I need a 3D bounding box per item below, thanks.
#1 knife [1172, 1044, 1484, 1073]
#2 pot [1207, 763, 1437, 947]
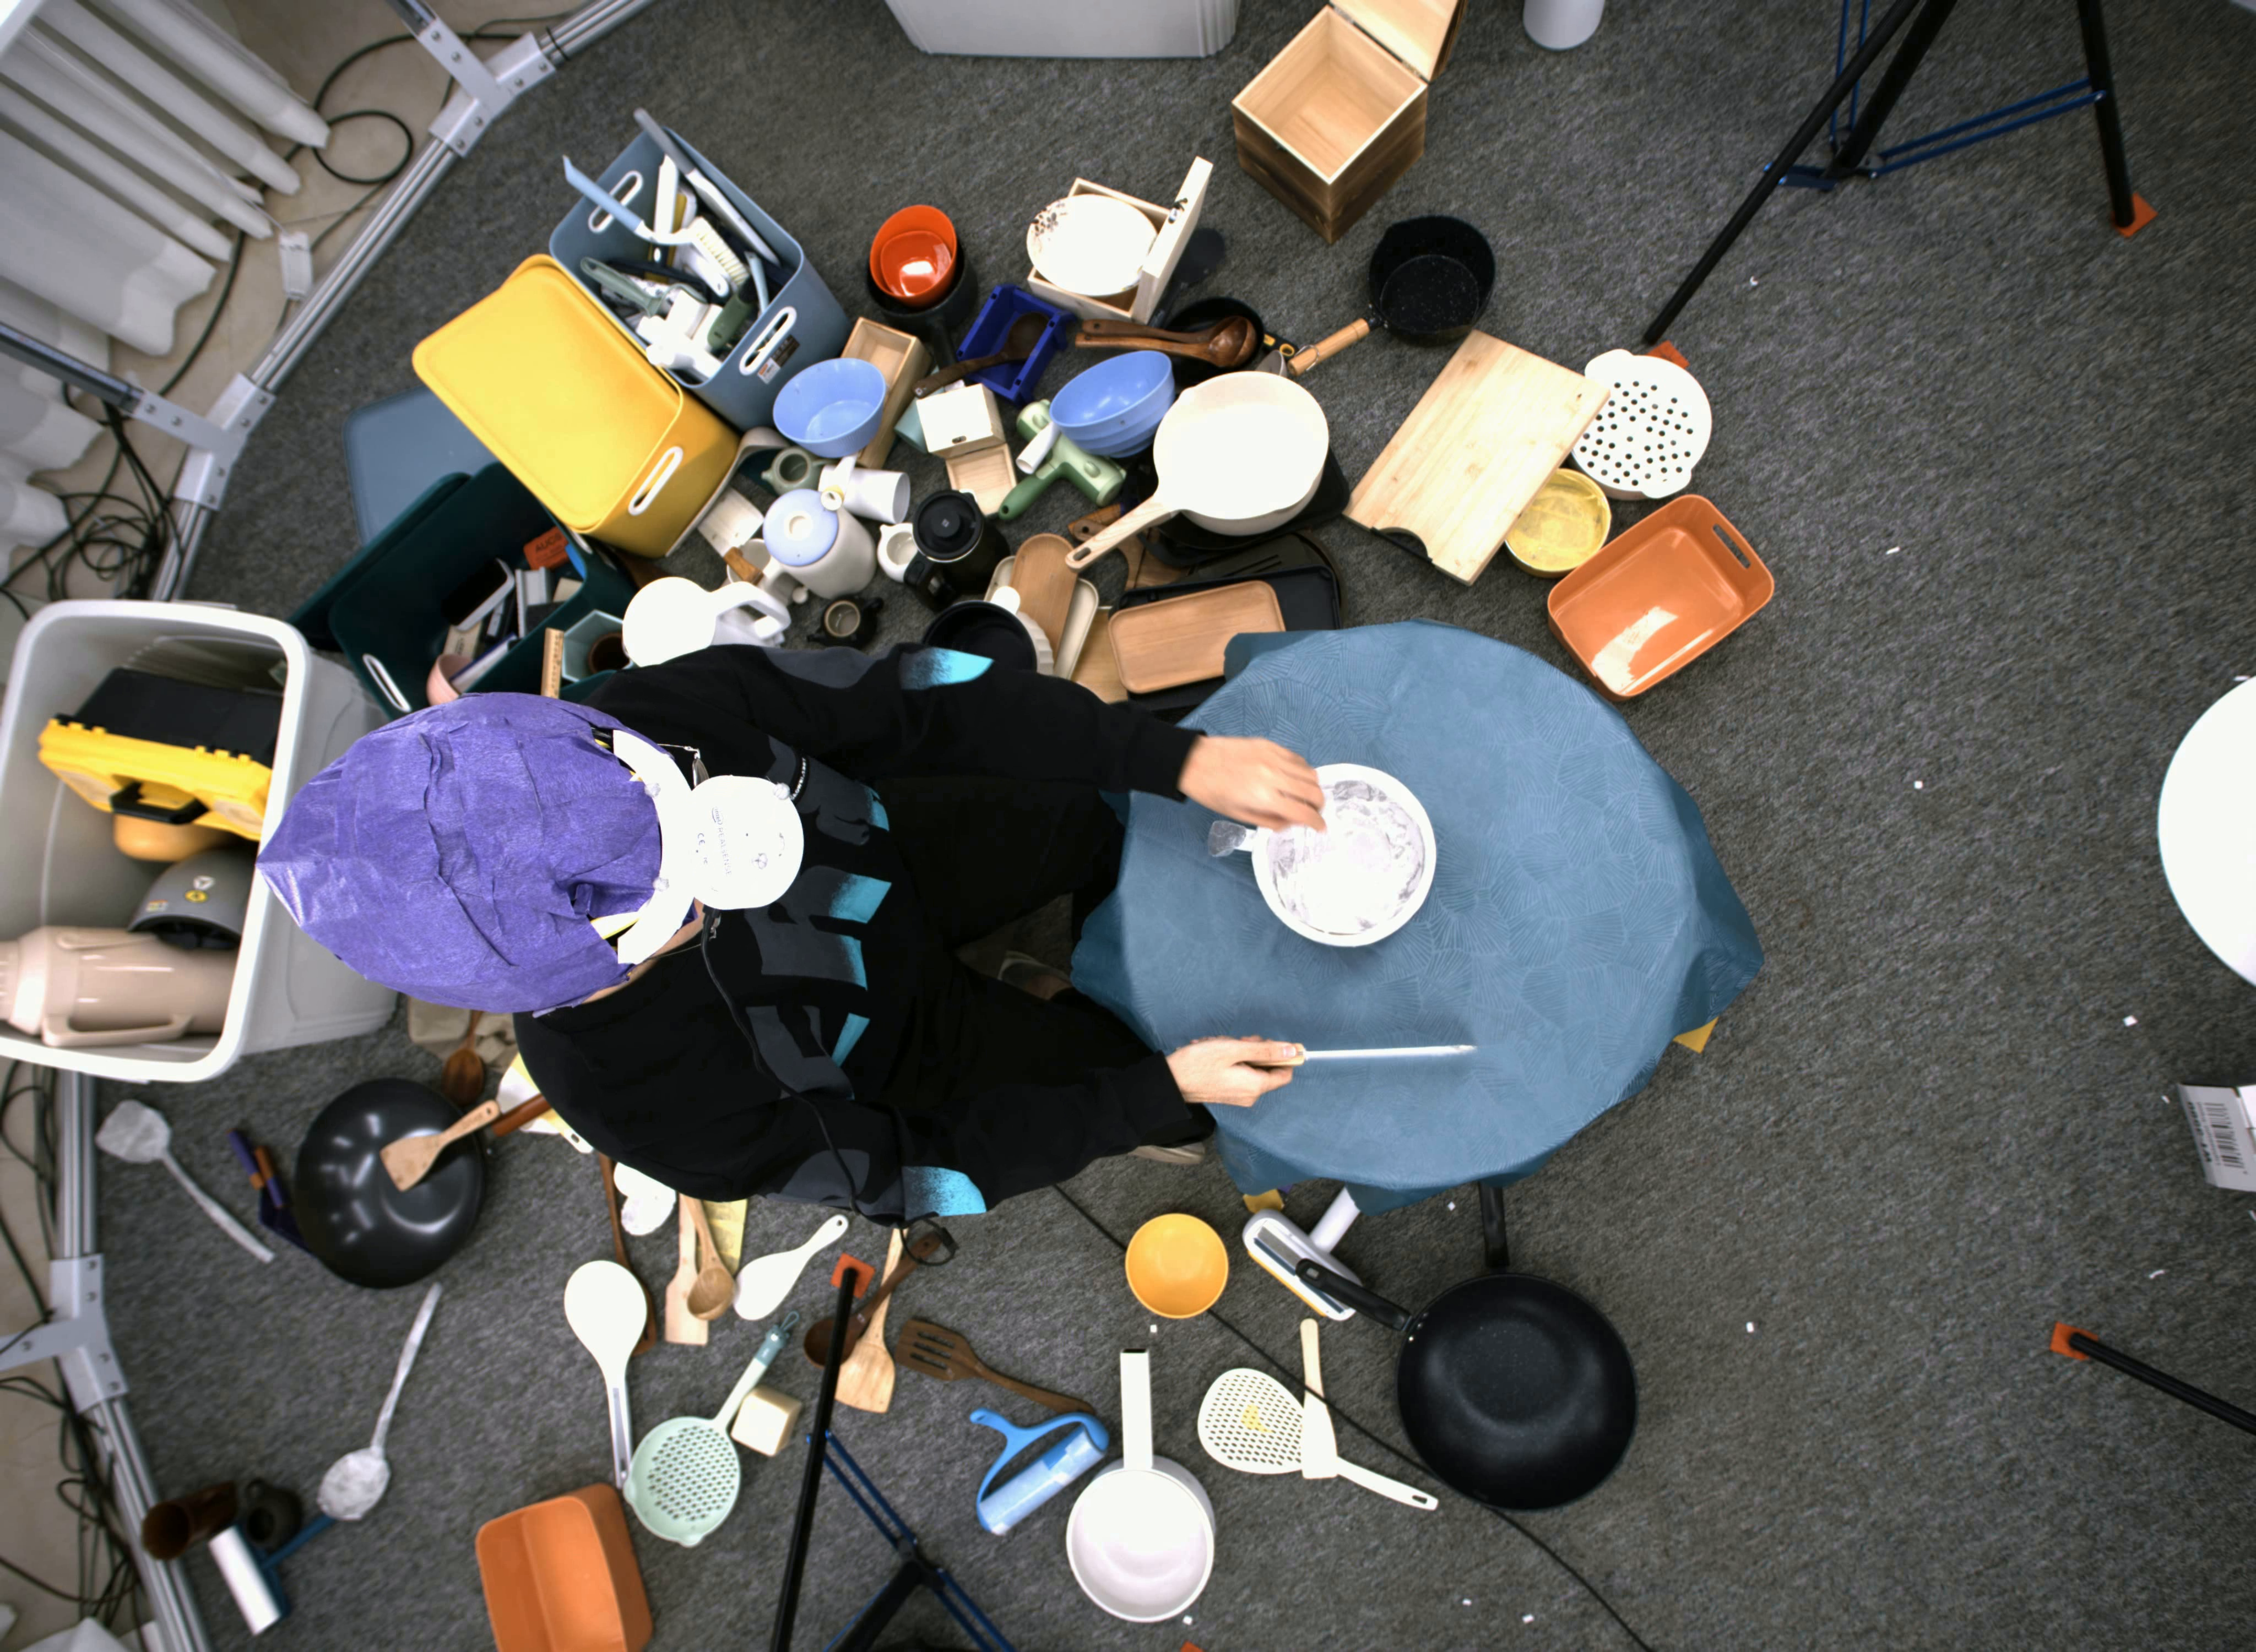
[{"bbox_3d":[0.202,0.228,1.384,0.316,0.115,0.021,-3,76,5],"label":"knife"},{"bbox_3d":[0.192,0.028,1.407,0.234,0.137,0.178,9,87,10],"label":"pot"}]
